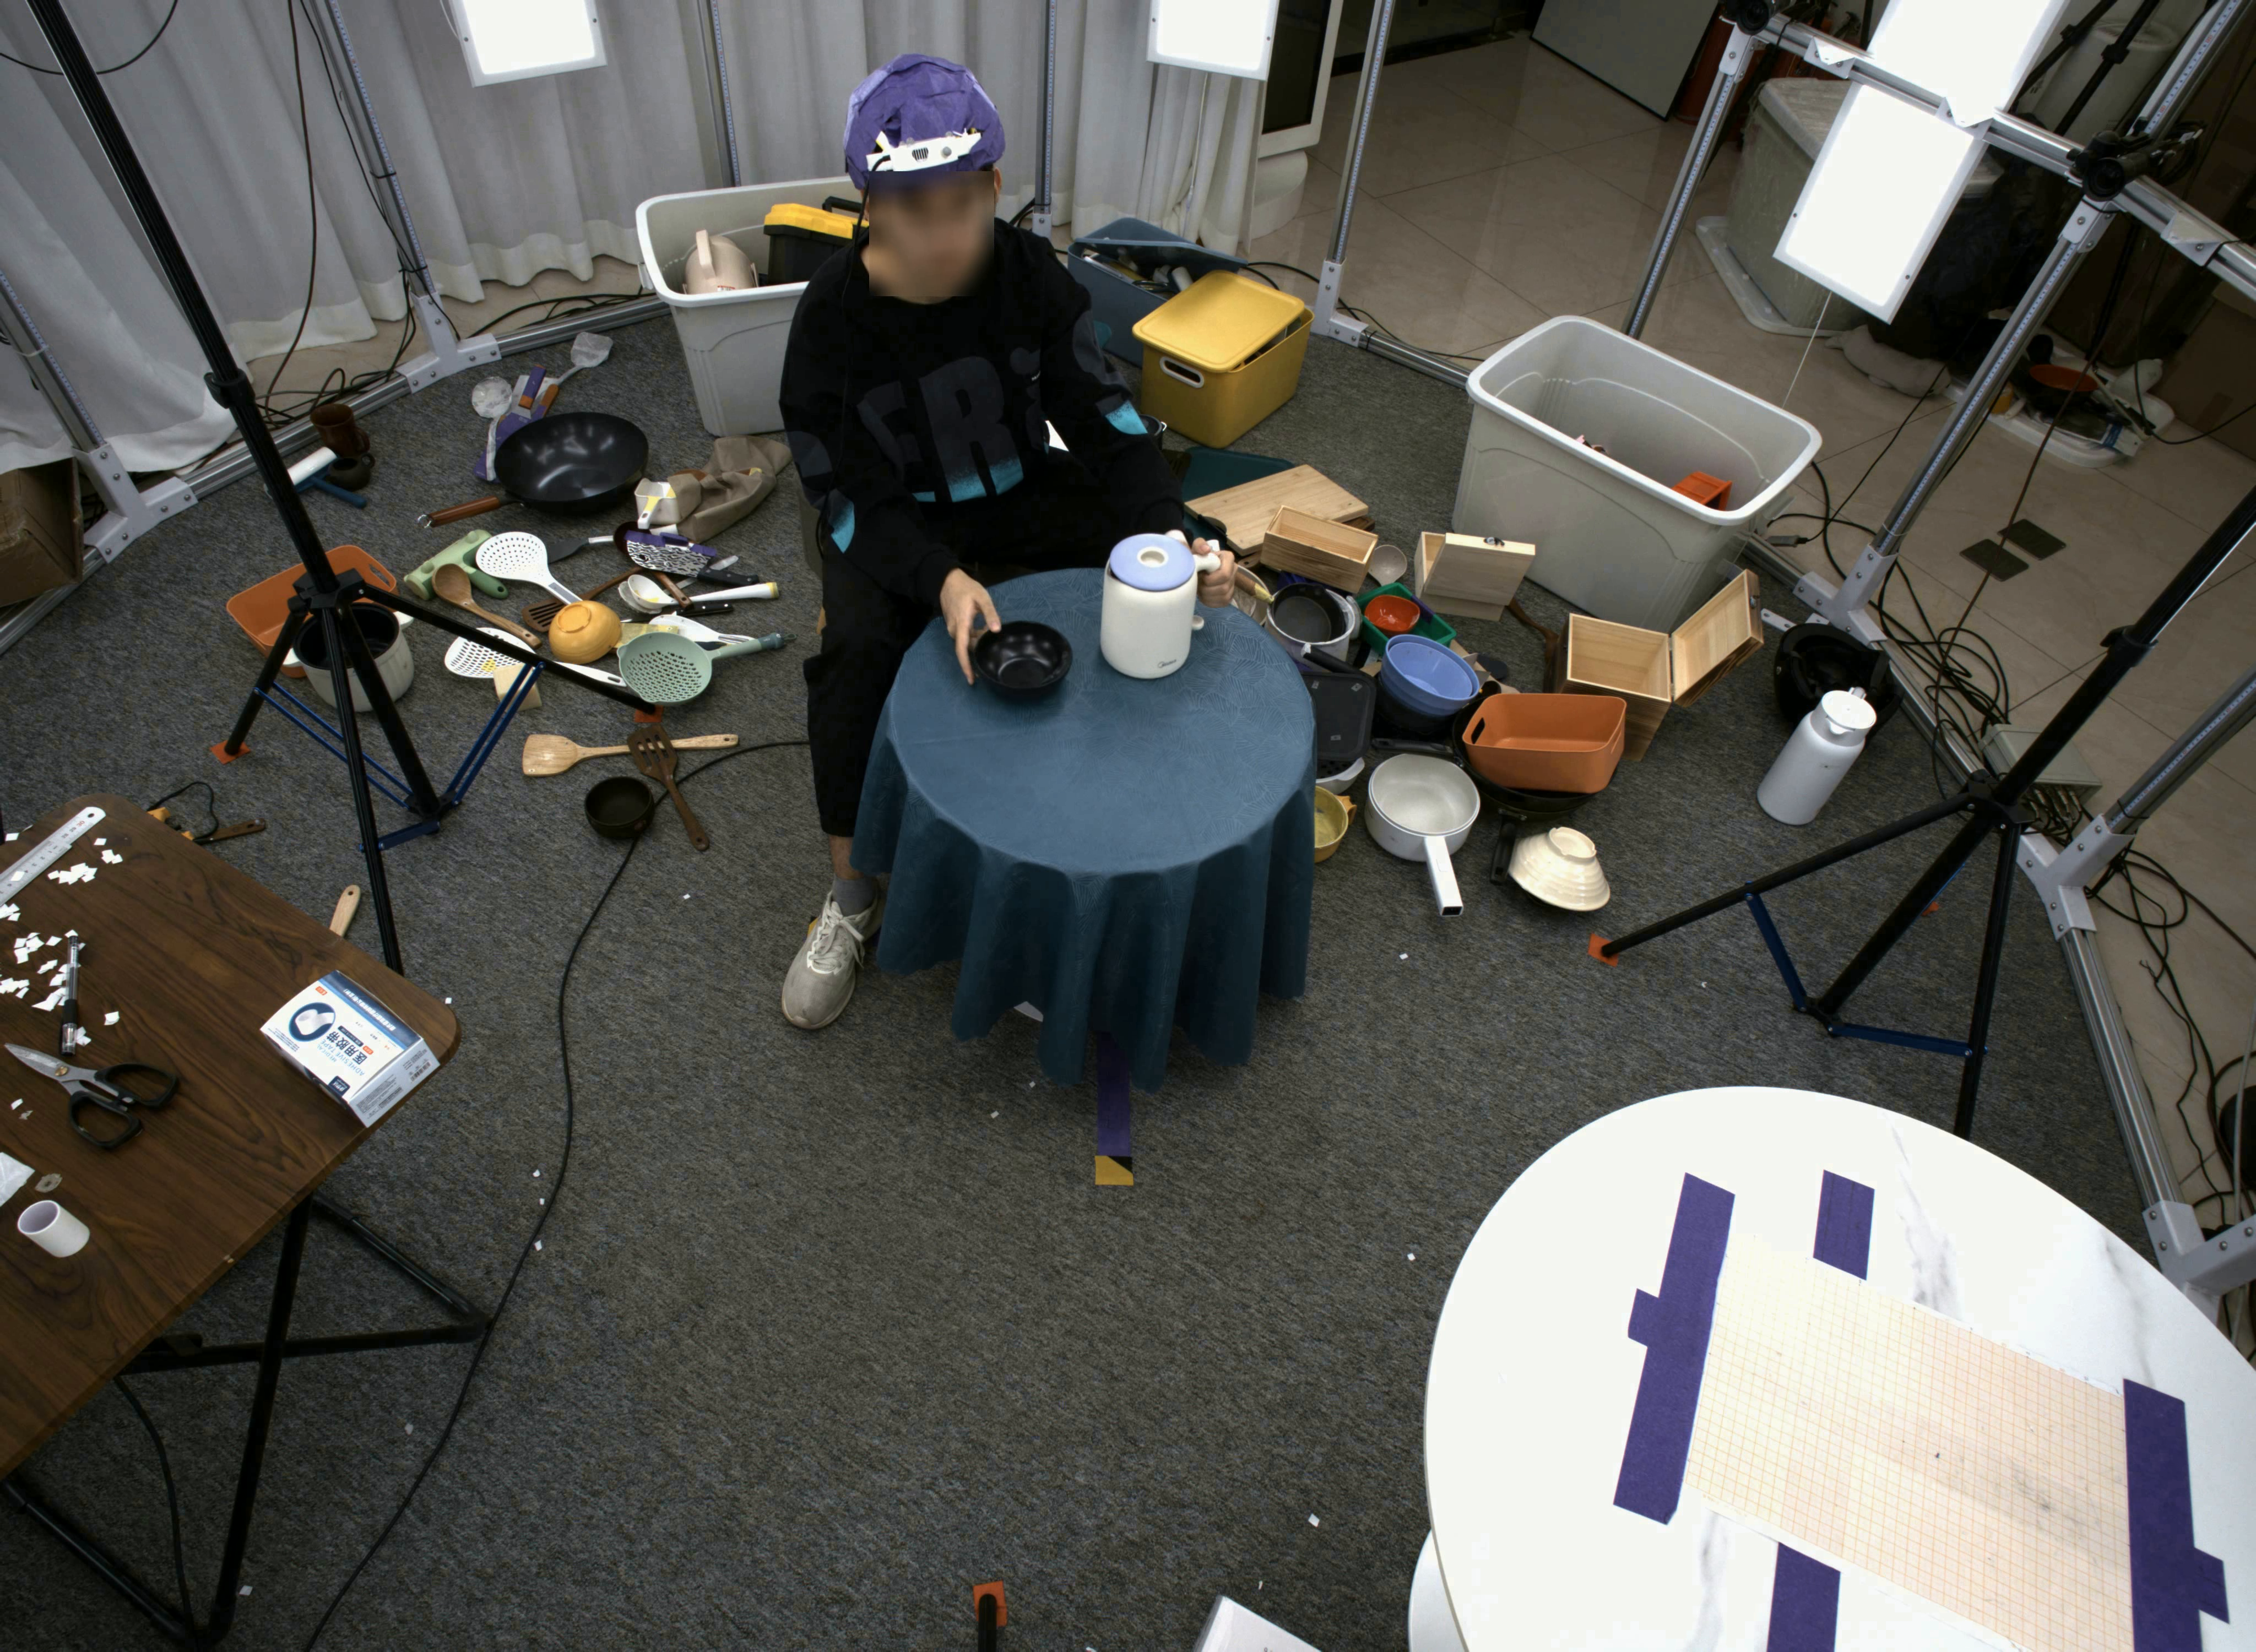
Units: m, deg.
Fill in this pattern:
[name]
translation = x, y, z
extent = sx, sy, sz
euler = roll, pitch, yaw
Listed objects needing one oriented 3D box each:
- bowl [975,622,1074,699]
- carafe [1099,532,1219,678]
[bowl]
translation = -0.146, -0.226, 1.823
extent = 0.140, 0.048, 0.143
euler = 1, 47, -1
[carafe]
translation = 0.049, -0.322, 1.840
extent = 0.191, 0.178, 0.135
euler = -20, 55, -23
